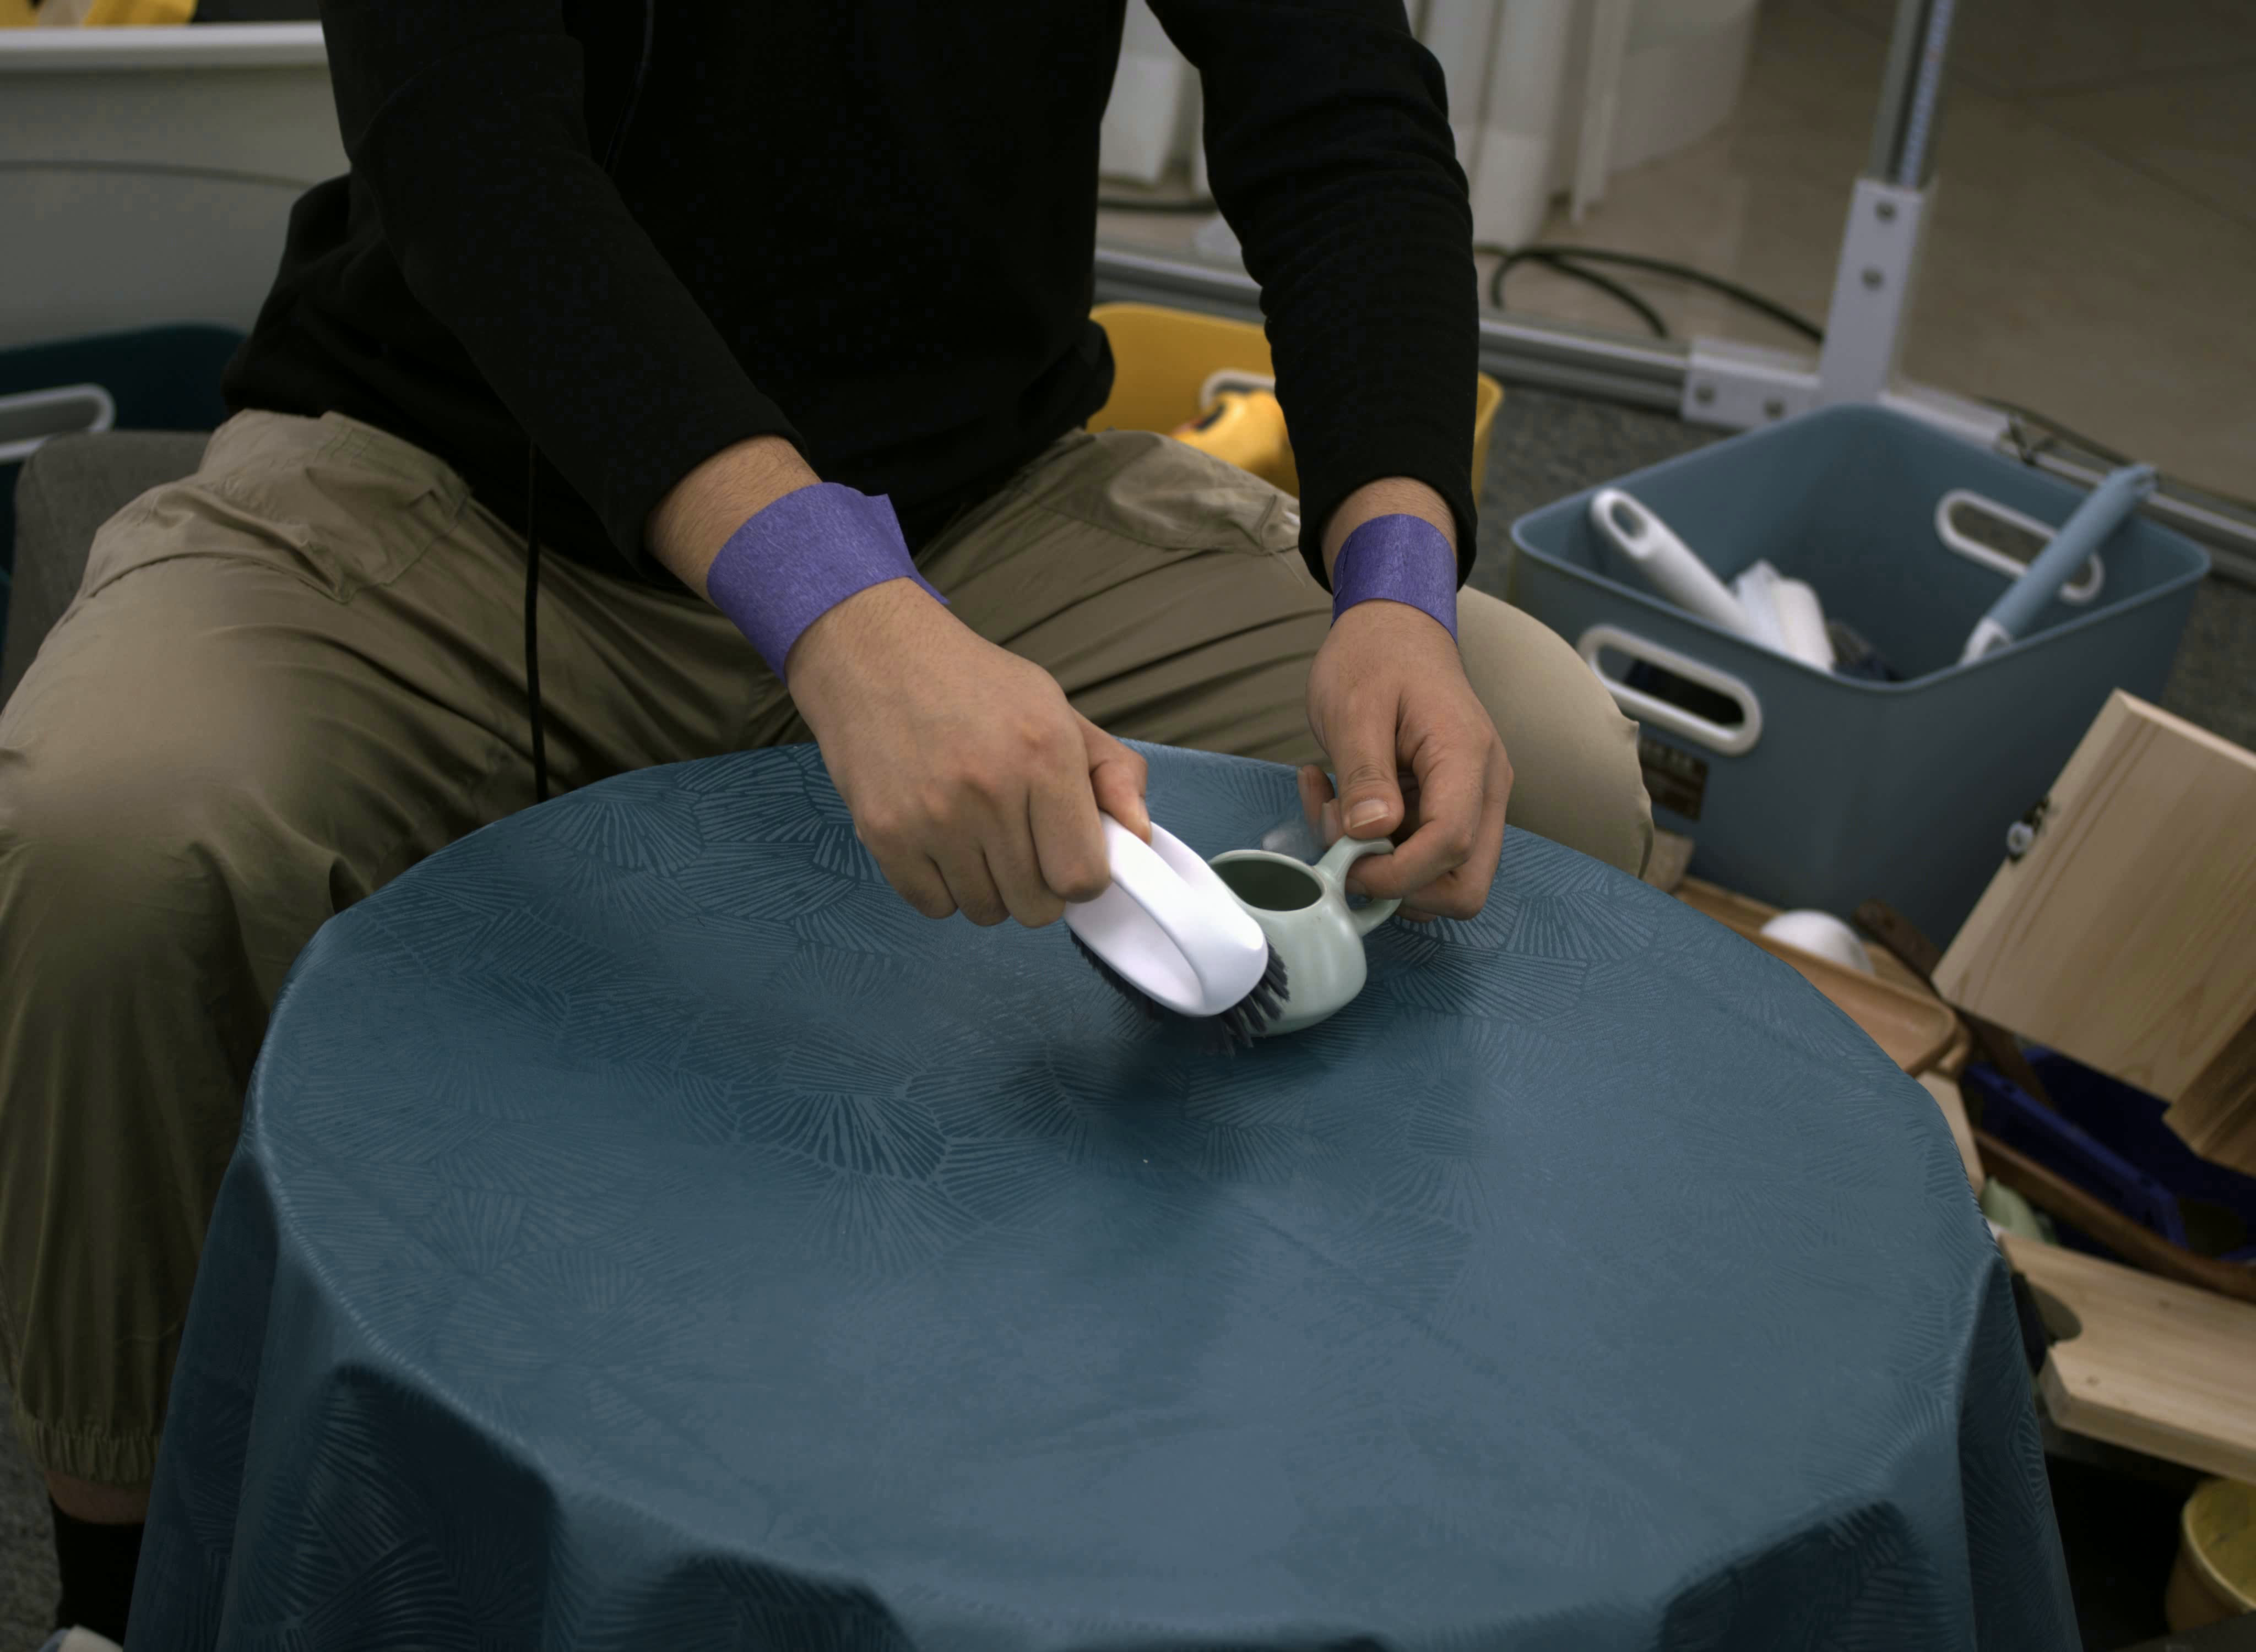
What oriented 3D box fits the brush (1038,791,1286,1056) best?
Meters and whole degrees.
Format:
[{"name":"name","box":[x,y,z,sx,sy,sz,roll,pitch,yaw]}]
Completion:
[{"name":"brush","box":[0.006,0.026,1.835,0.050,0.072,0.100,-40,55,-8]}]

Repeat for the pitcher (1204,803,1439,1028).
[{"name":"pitcher","box":[0.064,0.032,1.924,0.107,0.060,0.086,-20,23,-14]}]
